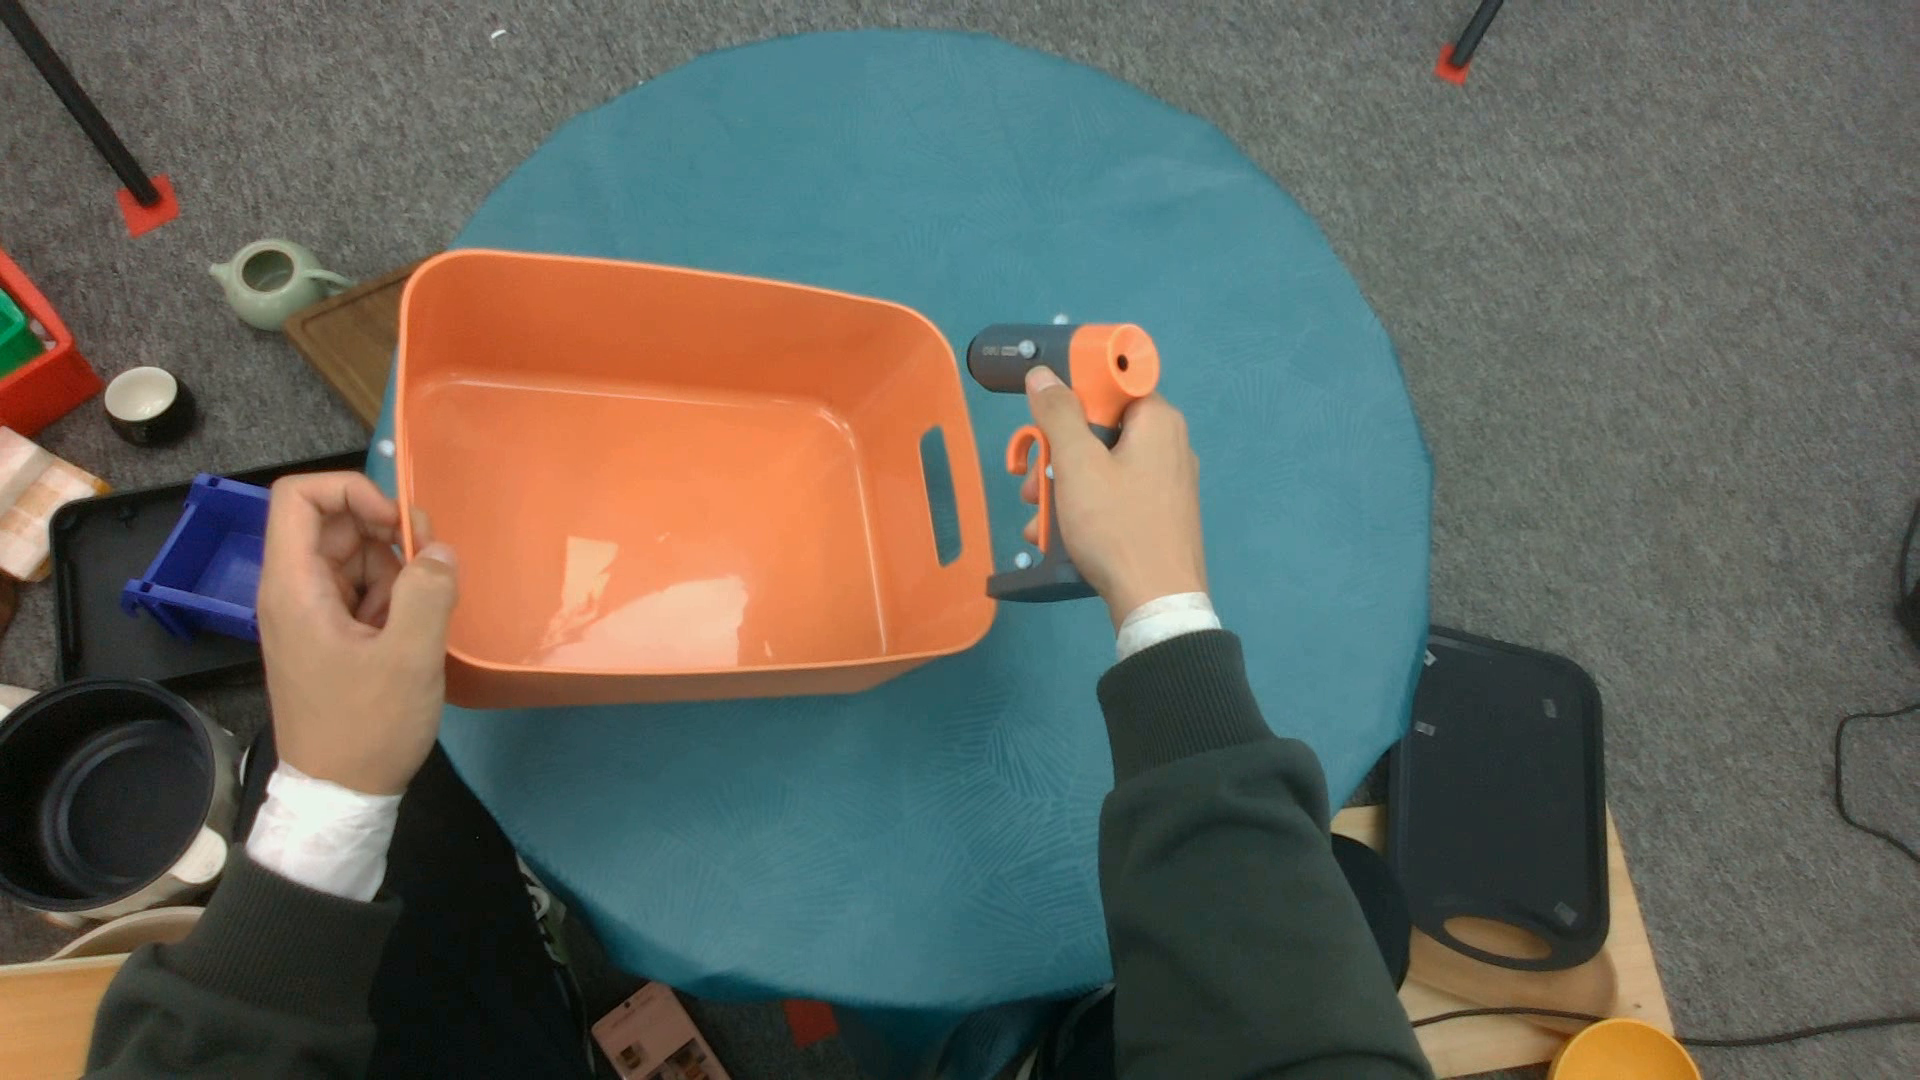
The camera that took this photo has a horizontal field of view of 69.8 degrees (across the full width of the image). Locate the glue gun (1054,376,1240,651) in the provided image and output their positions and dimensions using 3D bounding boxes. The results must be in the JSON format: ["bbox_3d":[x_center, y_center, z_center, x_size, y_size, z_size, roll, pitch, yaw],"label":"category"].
[{"bbox_3d":[0.082,-0.020,0.662,0.041,0.117,0.140,11,74,-32],"label":"glue gun"}]

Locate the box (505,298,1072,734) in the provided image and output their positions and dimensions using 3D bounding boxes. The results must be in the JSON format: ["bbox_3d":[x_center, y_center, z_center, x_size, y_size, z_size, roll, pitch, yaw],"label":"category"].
[{"bbox_3d":[-0.090,0.001,0.684,0.274,0.102,0.200,3,67,-27],"label":"box"}]
